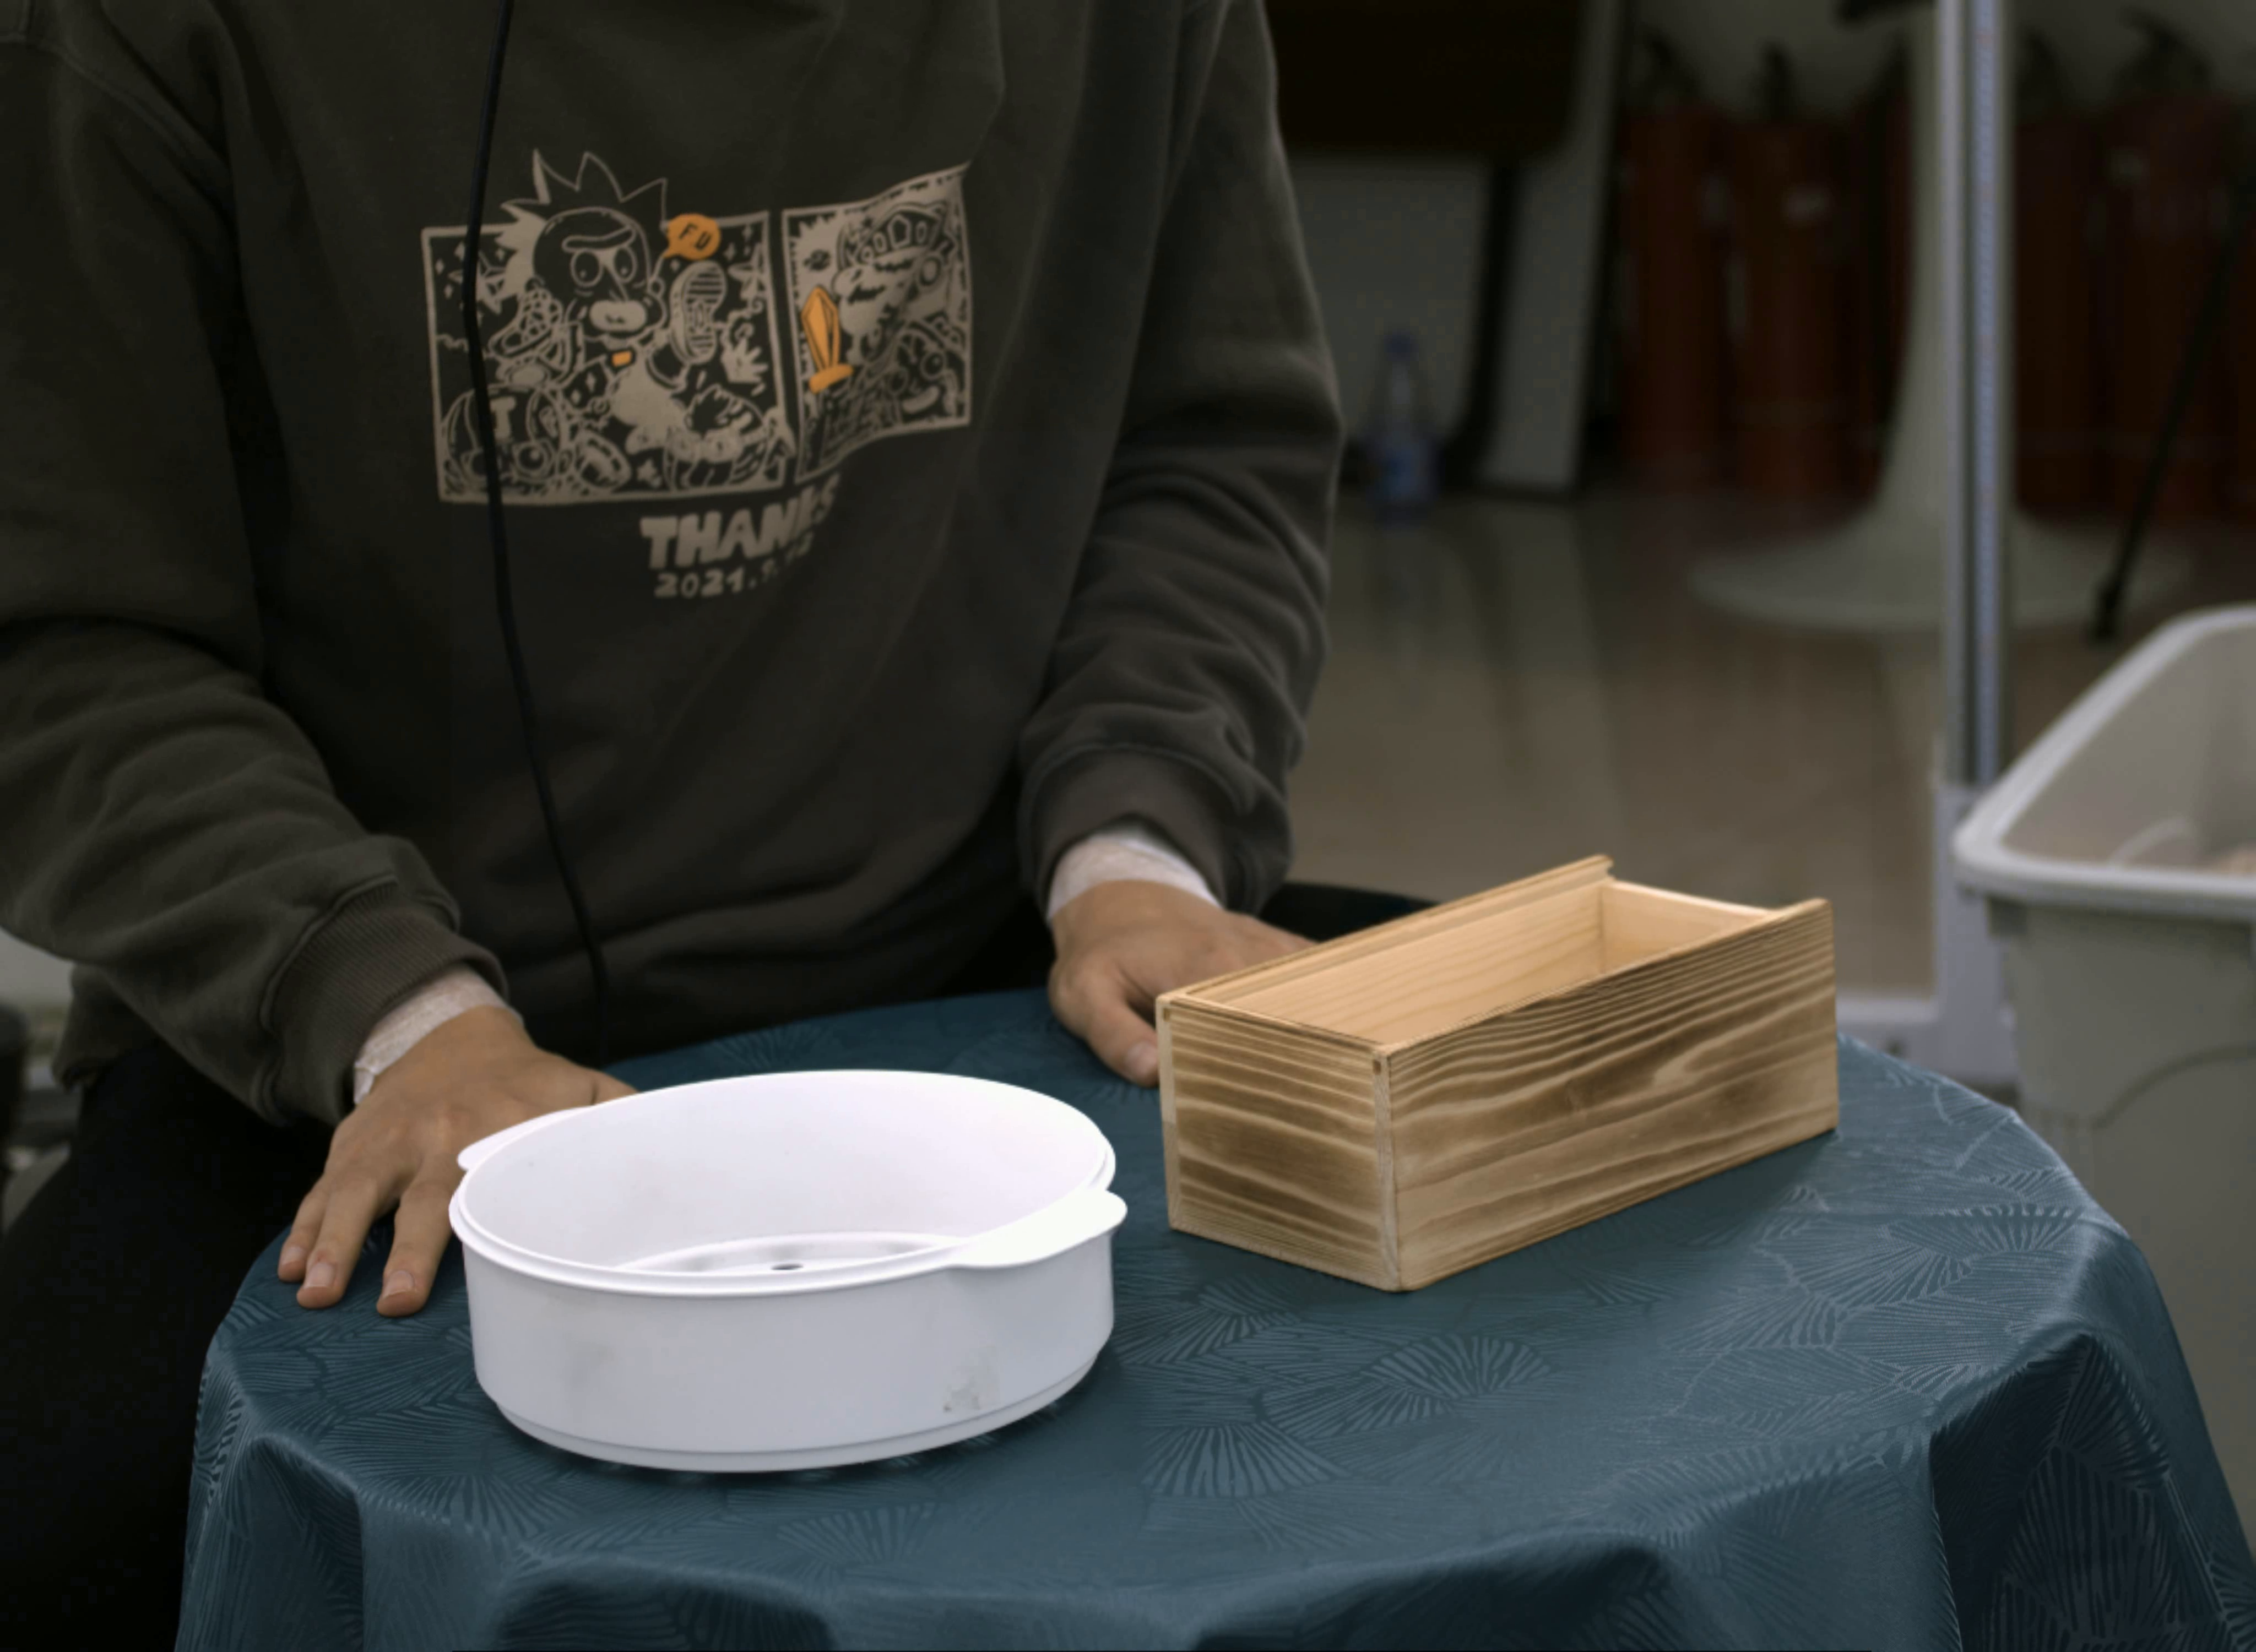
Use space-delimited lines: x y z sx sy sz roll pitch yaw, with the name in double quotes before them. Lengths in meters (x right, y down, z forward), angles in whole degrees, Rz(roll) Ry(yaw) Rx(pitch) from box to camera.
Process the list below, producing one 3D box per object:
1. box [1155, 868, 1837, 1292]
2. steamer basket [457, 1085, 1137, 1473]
"box" 0.122 0.079 1.746 0.207 0.081 0.108 -15 16 -40
"steamer basket" -0.097 0.134 1.608 0.232 0.070 0.198 5 15 38
